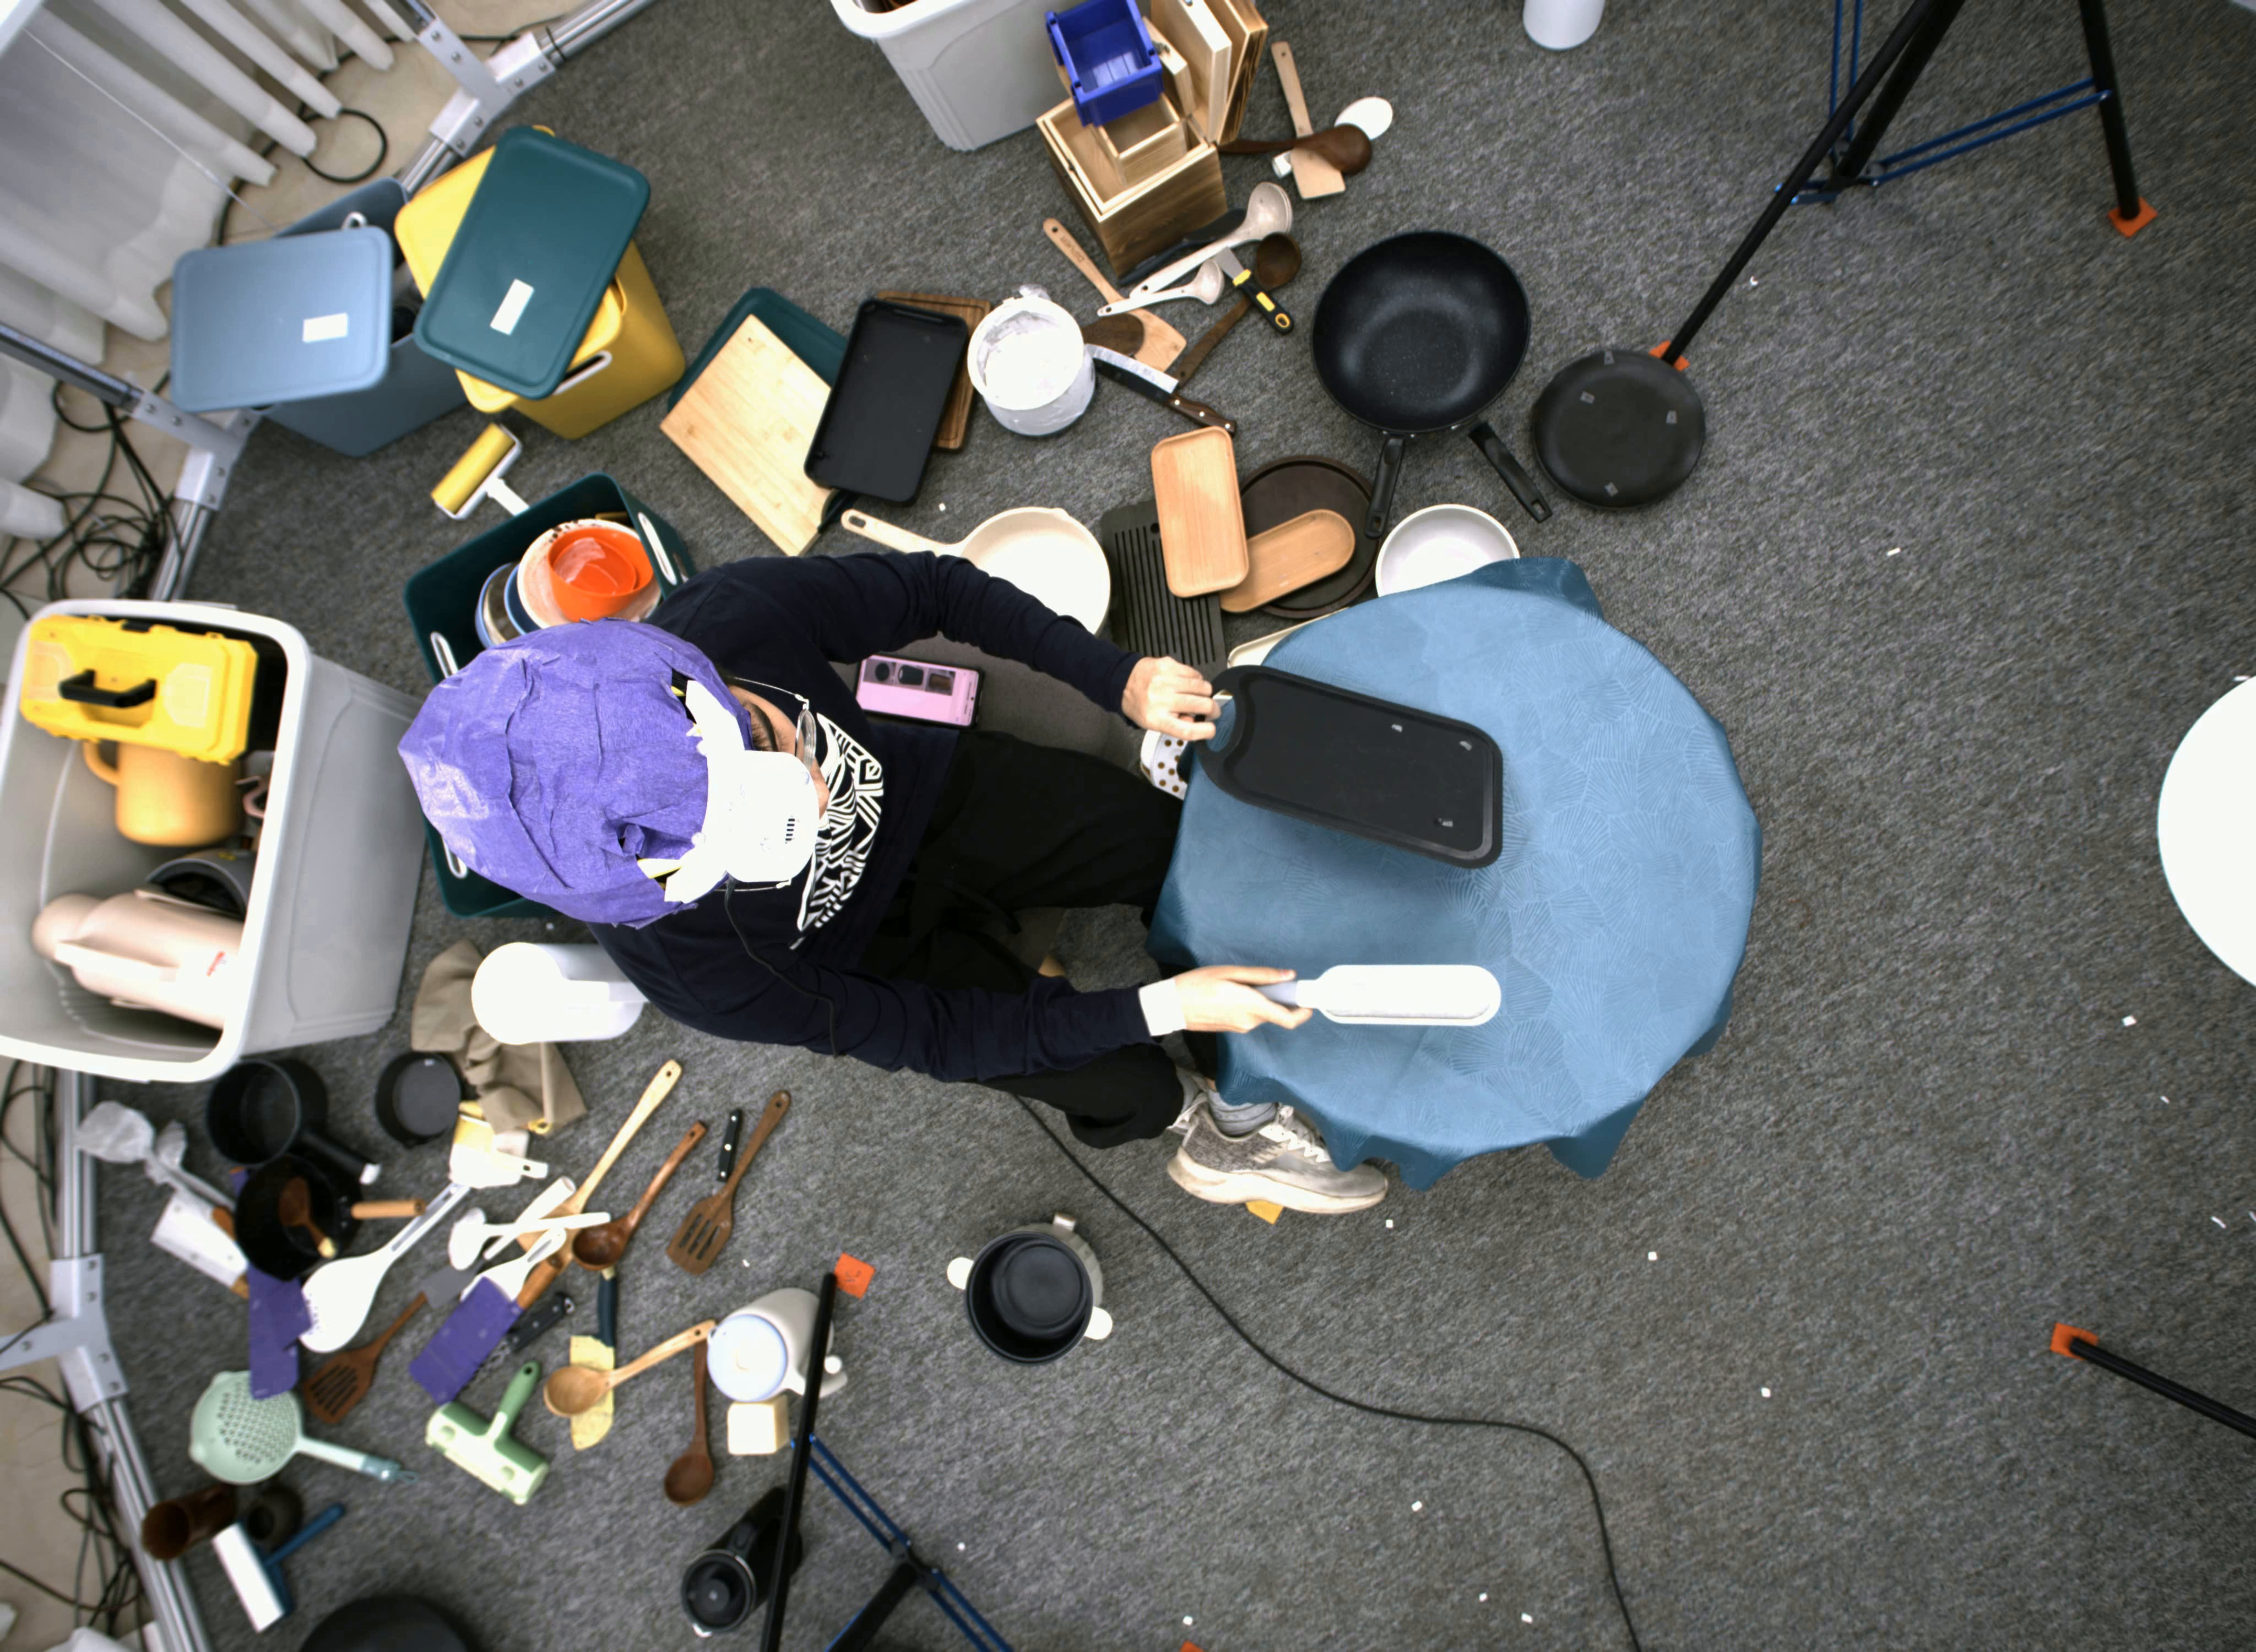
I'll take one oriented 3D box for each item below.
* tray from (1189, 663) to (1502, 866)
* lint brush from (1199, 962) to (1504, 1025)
[{"bbox_3d":[0.220,-0.070,1.380,0.326,0.010,0.205,16,48,-1],"label":"tray"},{"bbox_3d":[0.216,0.164,1.376,0.311,0.021,0.059,-2,70,24],"label":"lint brush"}]
